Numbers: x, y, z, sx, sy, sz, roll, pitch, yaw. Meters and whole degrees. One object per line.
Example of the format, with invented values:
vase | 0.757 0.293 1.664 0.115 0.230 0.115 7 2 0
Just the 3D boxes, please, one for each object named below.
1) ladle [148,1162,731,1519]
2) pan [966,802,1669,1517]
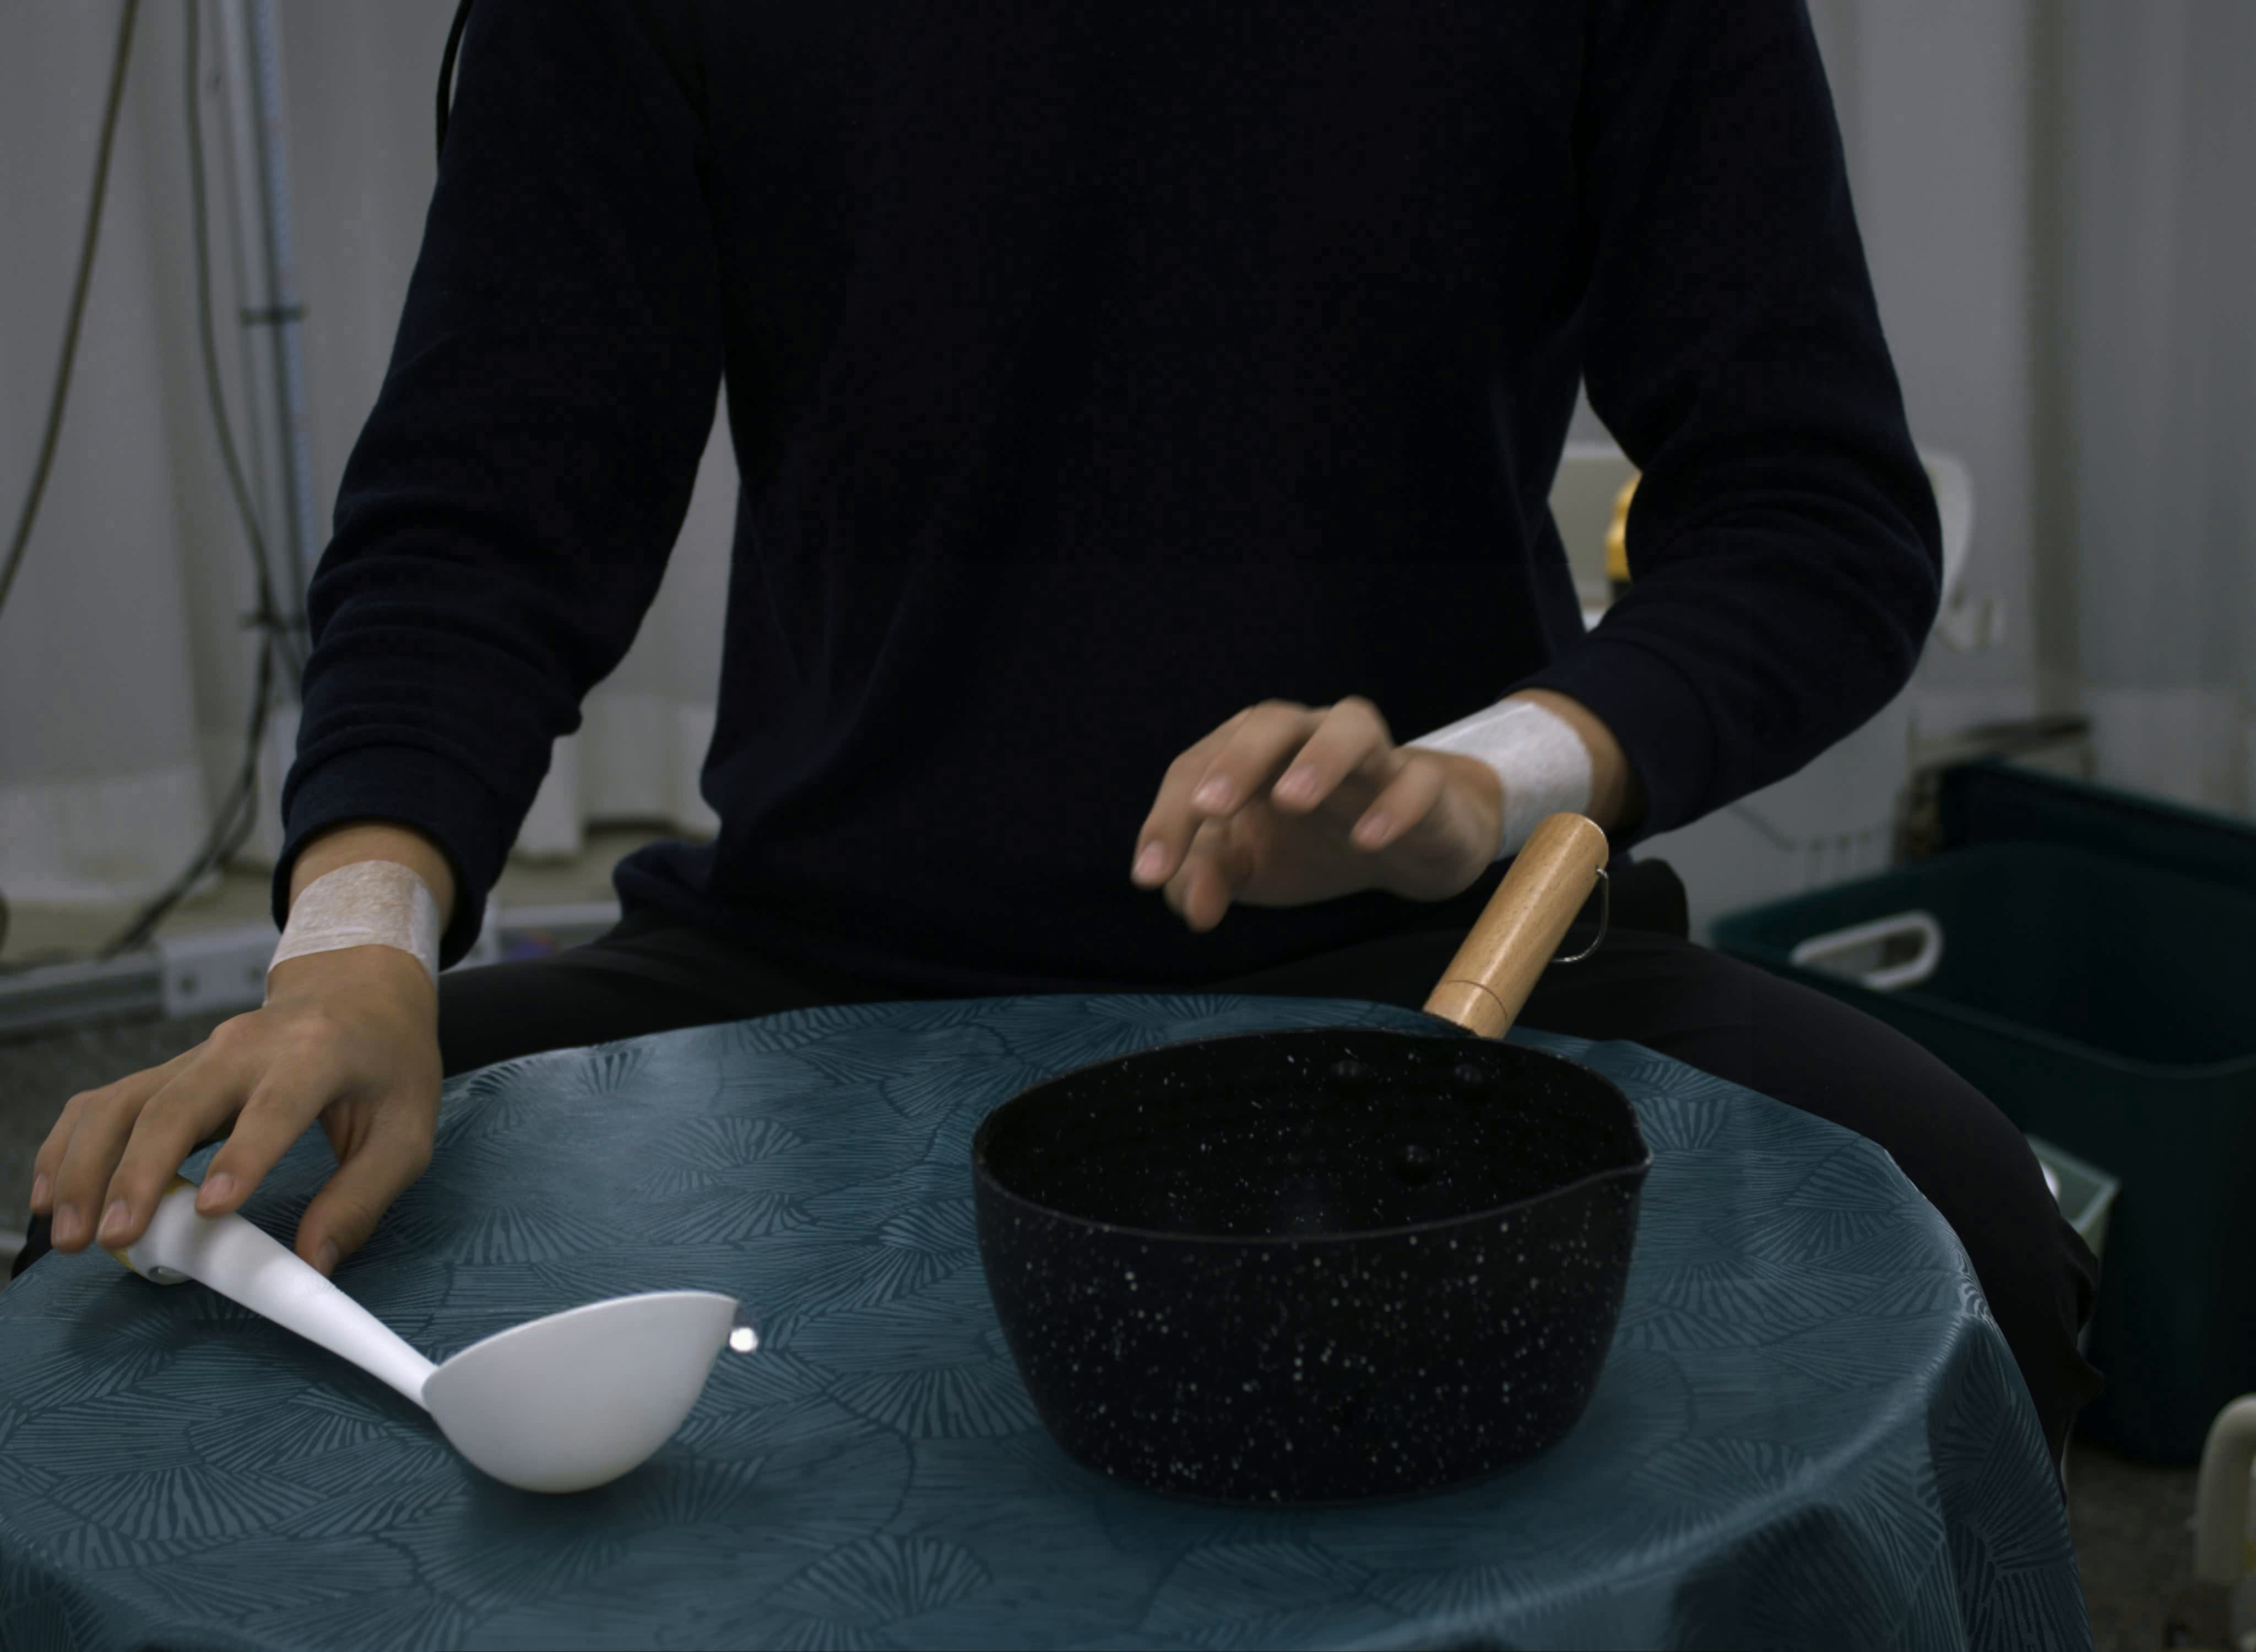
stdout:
ladle | -0.211 0.133 1.572 0.090 0.070 0.295 -8 17 -31
pan | 0.078 0.091 1.581 0.207 0.108 0.344 2 17 21
